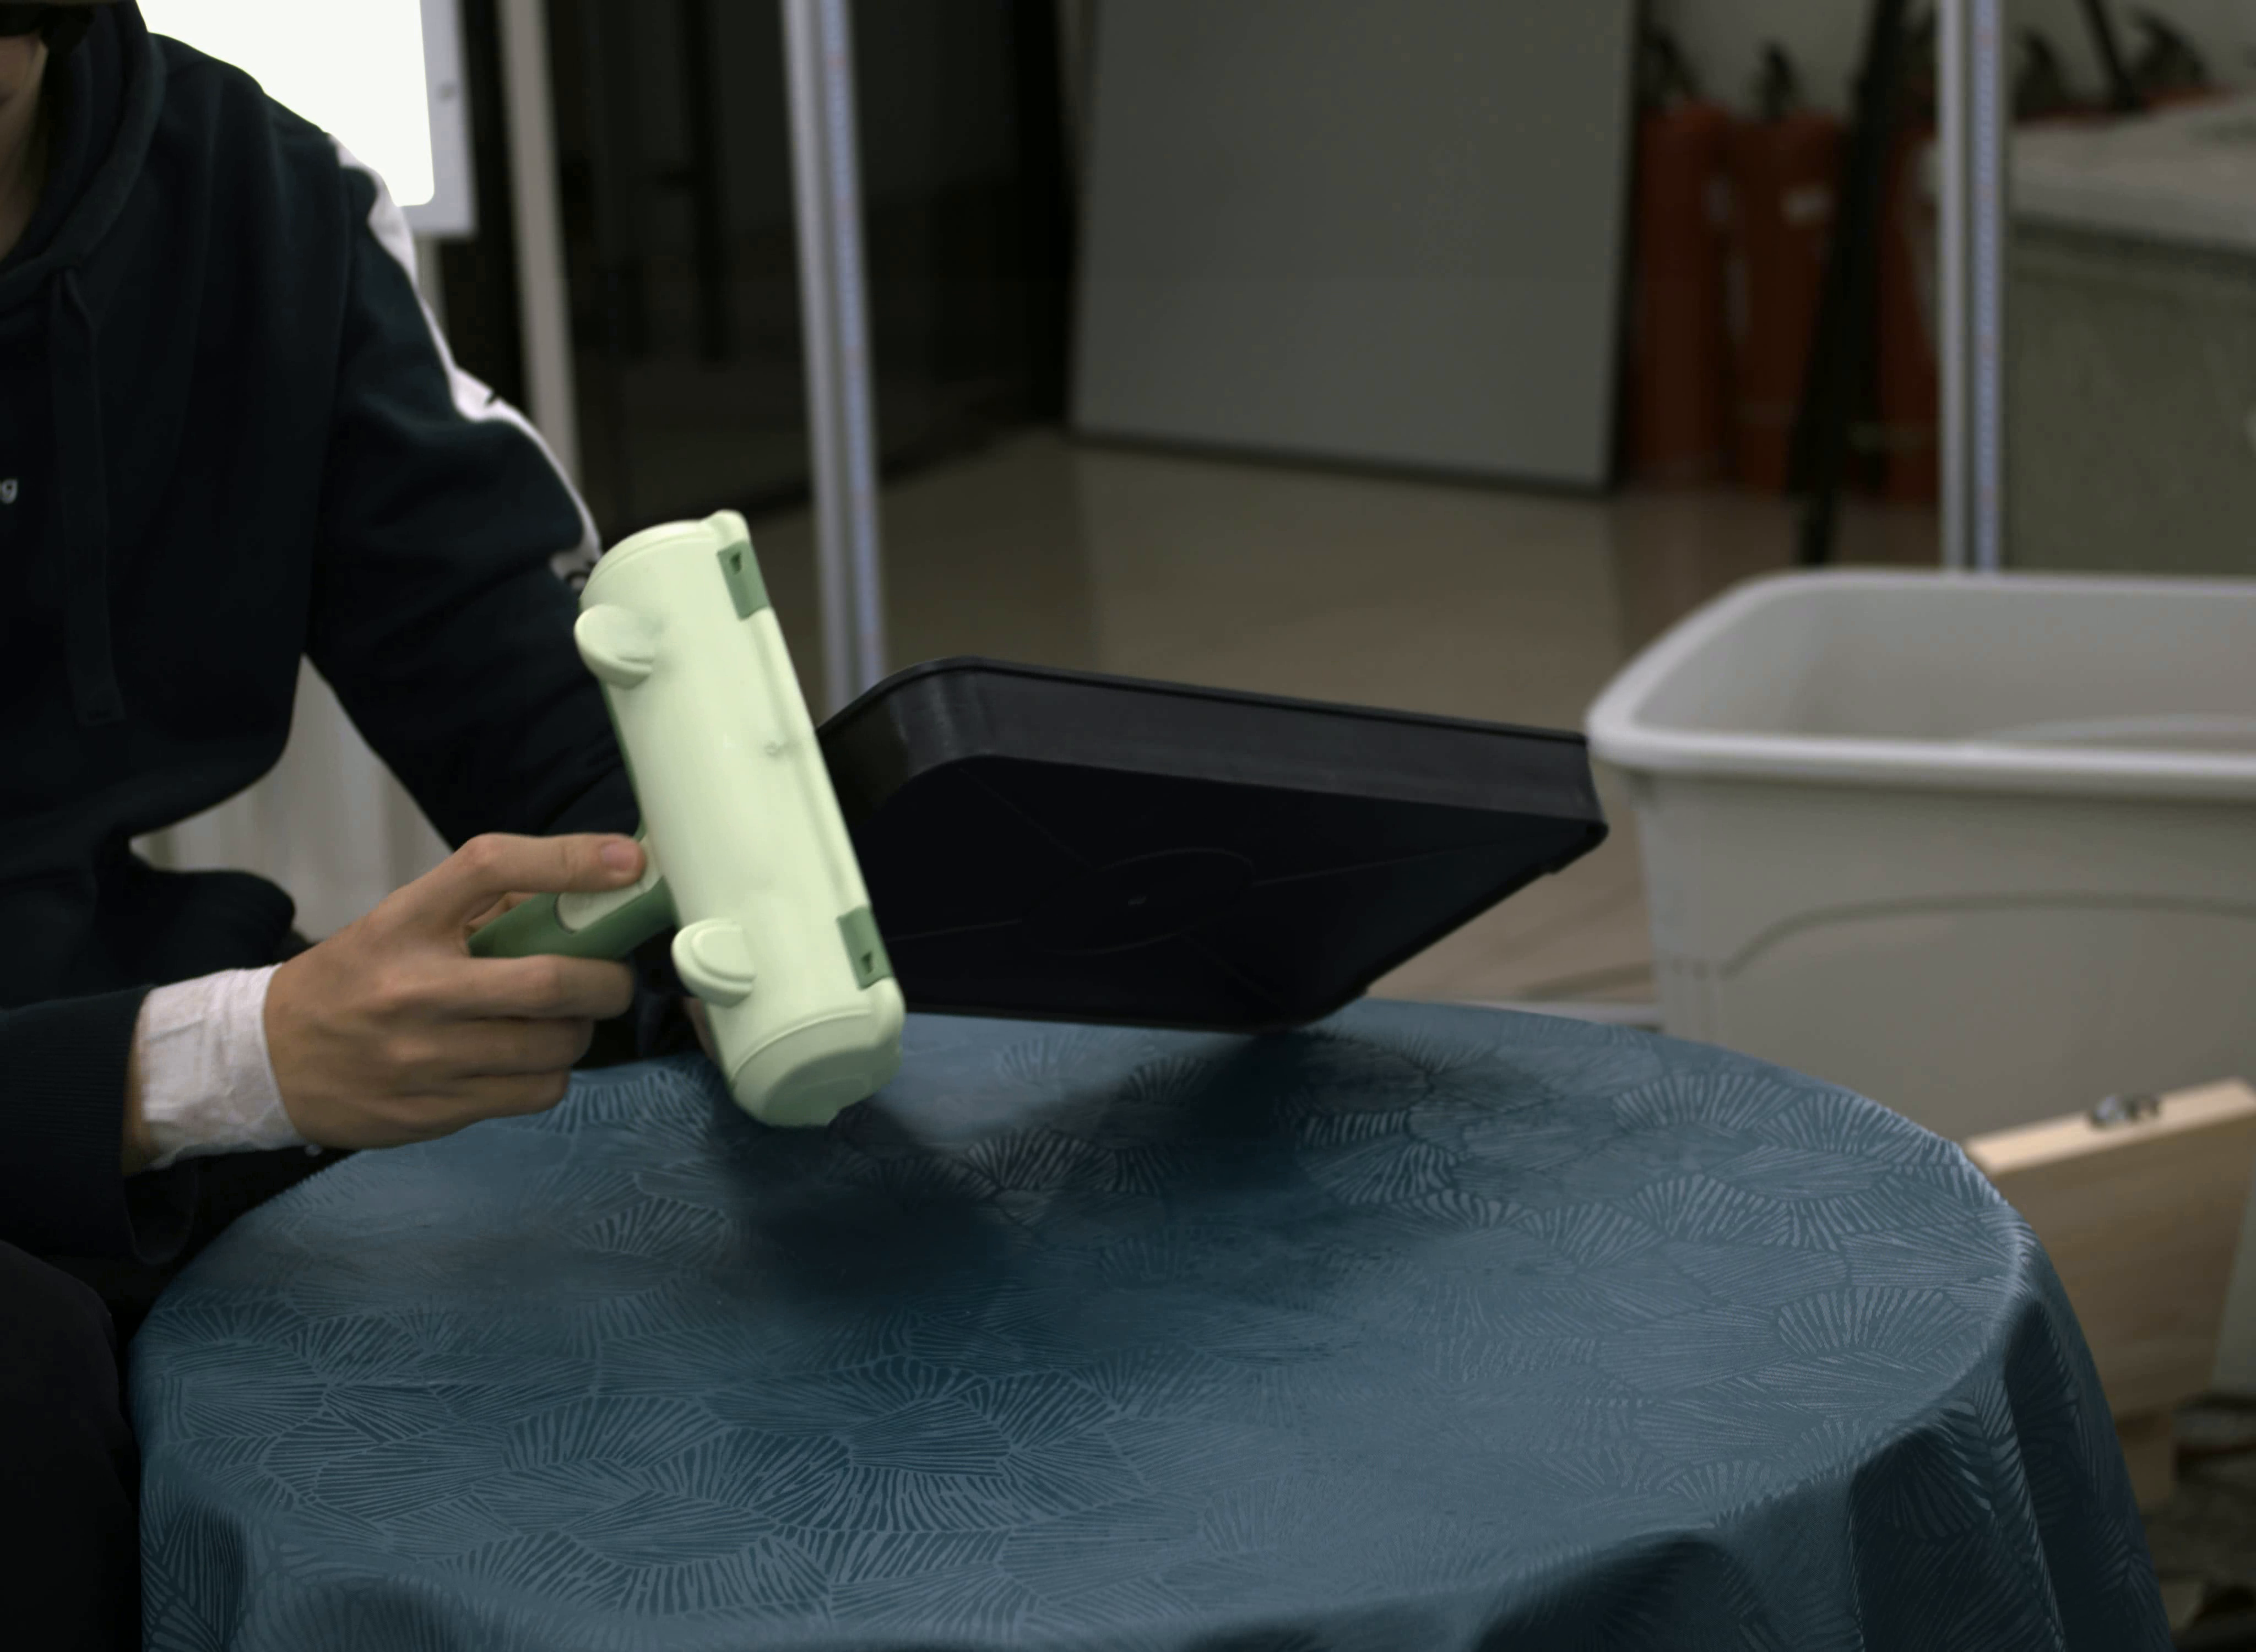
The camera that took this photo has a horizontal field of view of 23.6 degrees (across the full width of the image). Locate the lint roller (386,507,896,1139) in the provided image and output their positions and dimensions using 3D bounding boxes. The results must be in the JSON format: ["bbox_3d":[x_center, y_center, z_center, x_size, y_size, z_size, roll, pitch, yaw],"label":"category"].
[{"bbox_3d":[-0.170,0.022,1.668,0.183,0.201,0.081,-29,-29,17],"label":"lint roller"}]

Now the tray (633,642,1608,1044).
[{"bbox_3d":[-0.001,0.011,1.789,0.310,0.037,0.186,6,-31,-41],"label":"tray"}]
